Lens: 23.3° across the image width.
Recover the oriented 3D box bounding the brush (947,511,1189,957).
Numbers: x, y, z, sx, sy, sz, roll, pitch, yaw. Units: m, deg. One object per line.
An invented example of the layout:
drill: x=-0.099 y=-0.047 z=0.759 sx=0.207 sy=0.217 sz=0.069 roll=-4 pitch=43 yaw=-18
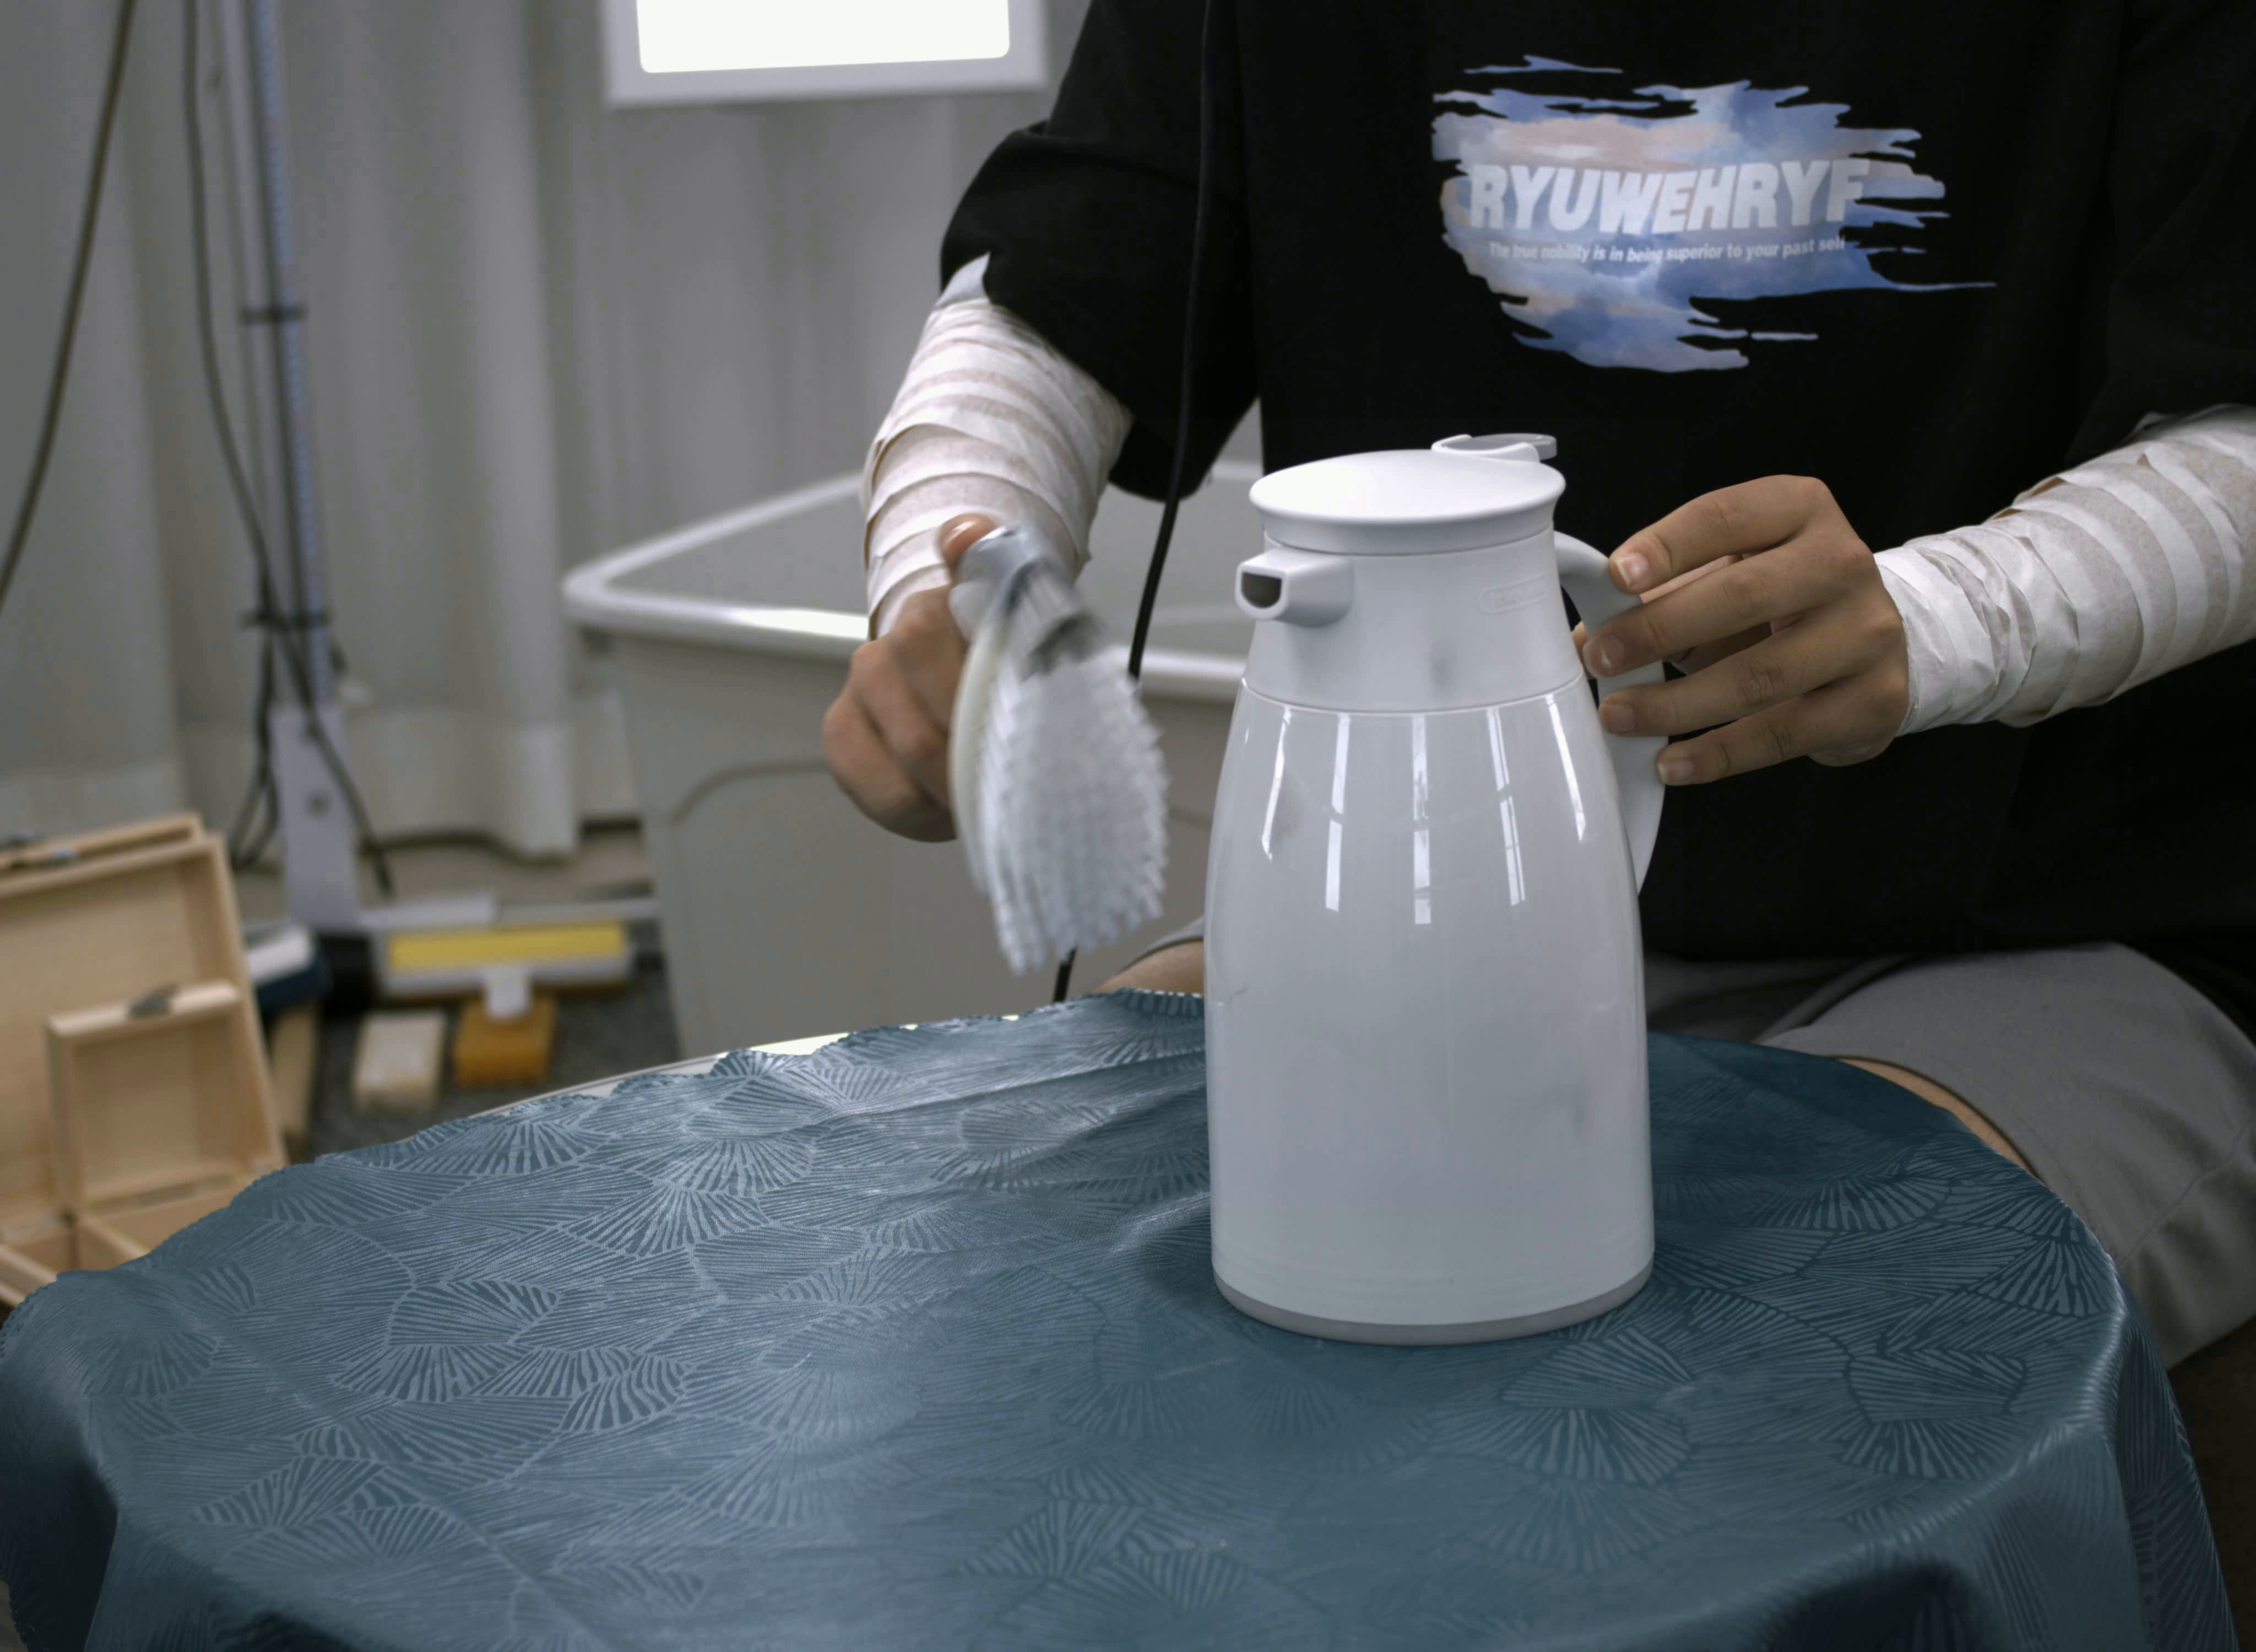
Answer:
brush: x=-0.025 y=-0.045 z=1.690 sx=0.061 sy=0.173 sz=0.095 roll=-23 pitch=58 yaw=-14

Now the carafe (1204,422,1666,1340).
carafe: x=0.098 y=0.008 z=1.614 sx=0.133 sy=0.248 sz=0.167 roll=10 pitch=18 yaw=43
